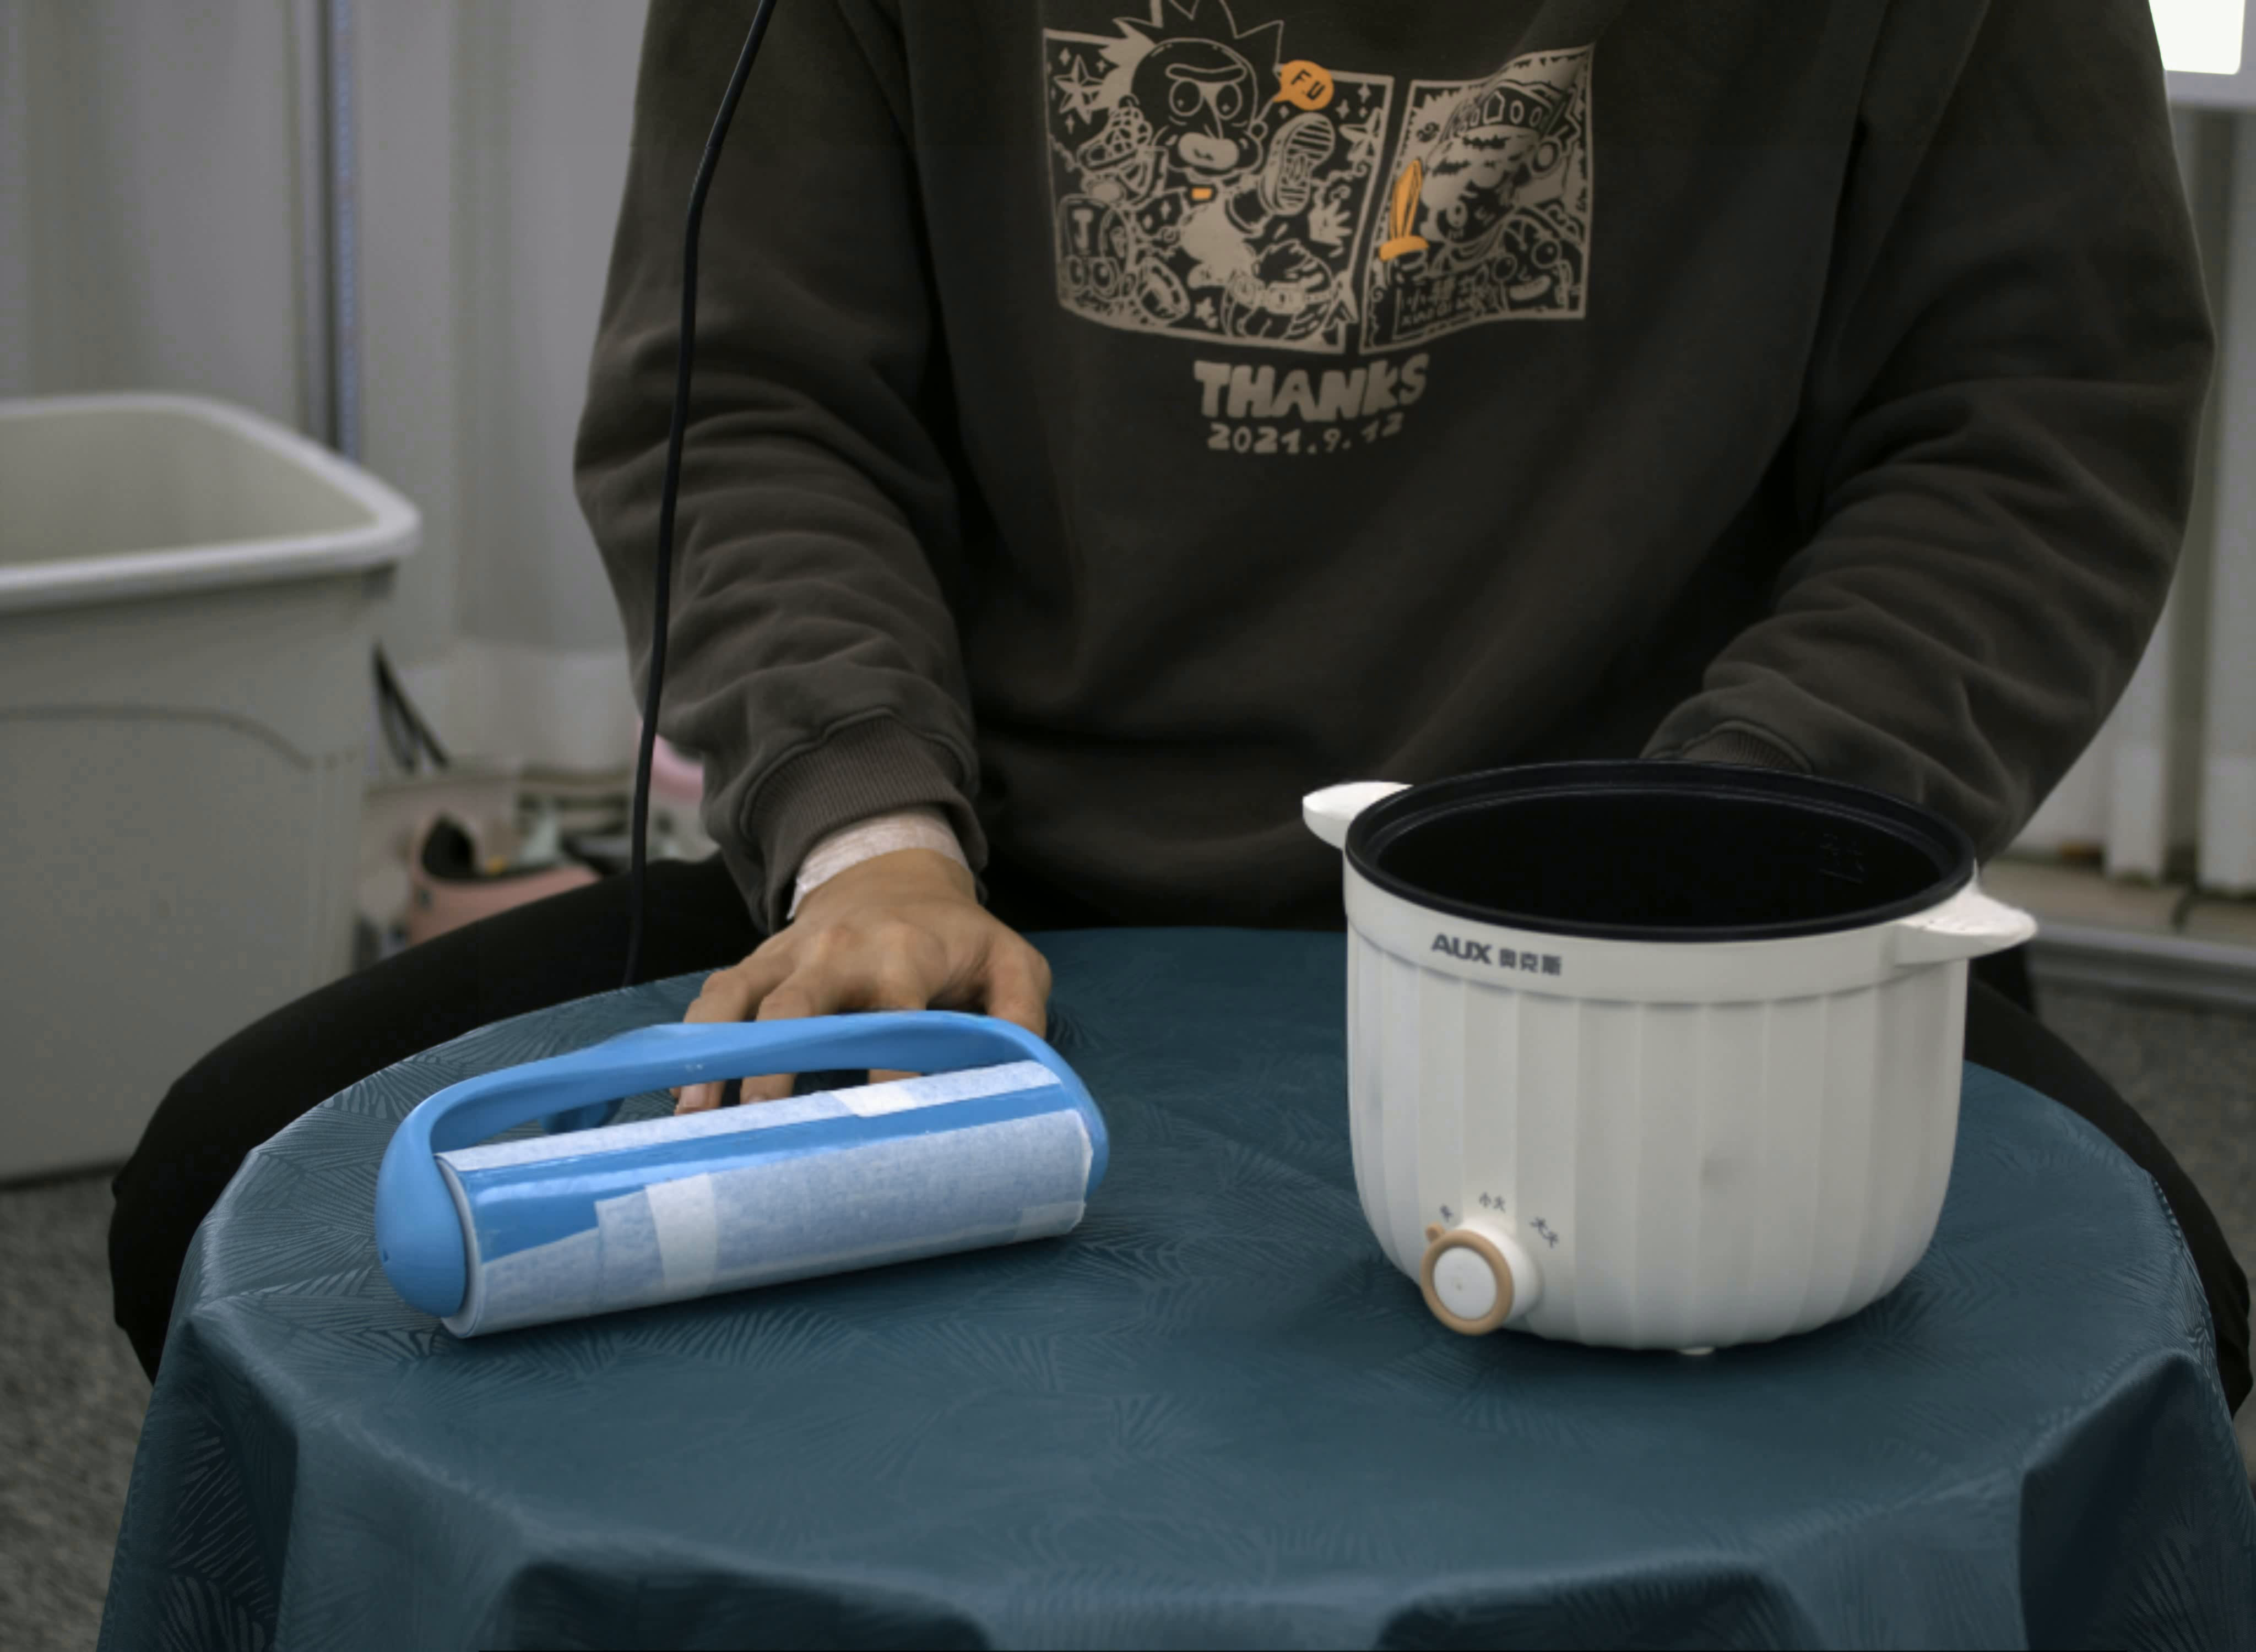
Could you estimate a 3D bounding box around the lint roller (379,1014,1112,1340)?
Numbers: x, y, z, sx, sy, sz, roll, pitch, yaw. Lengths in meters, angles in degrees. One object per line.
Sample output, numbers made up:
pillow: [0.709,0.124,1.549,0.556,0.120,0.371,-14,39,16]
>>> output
lint roller: [-0.138,0.092,1.590,0.230,0.068,0.178,-10,20,-29]

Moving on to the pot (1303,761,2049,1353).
pot: [0.151,0.069,1.531,0.237,0.143,0.191,10,15,33]
